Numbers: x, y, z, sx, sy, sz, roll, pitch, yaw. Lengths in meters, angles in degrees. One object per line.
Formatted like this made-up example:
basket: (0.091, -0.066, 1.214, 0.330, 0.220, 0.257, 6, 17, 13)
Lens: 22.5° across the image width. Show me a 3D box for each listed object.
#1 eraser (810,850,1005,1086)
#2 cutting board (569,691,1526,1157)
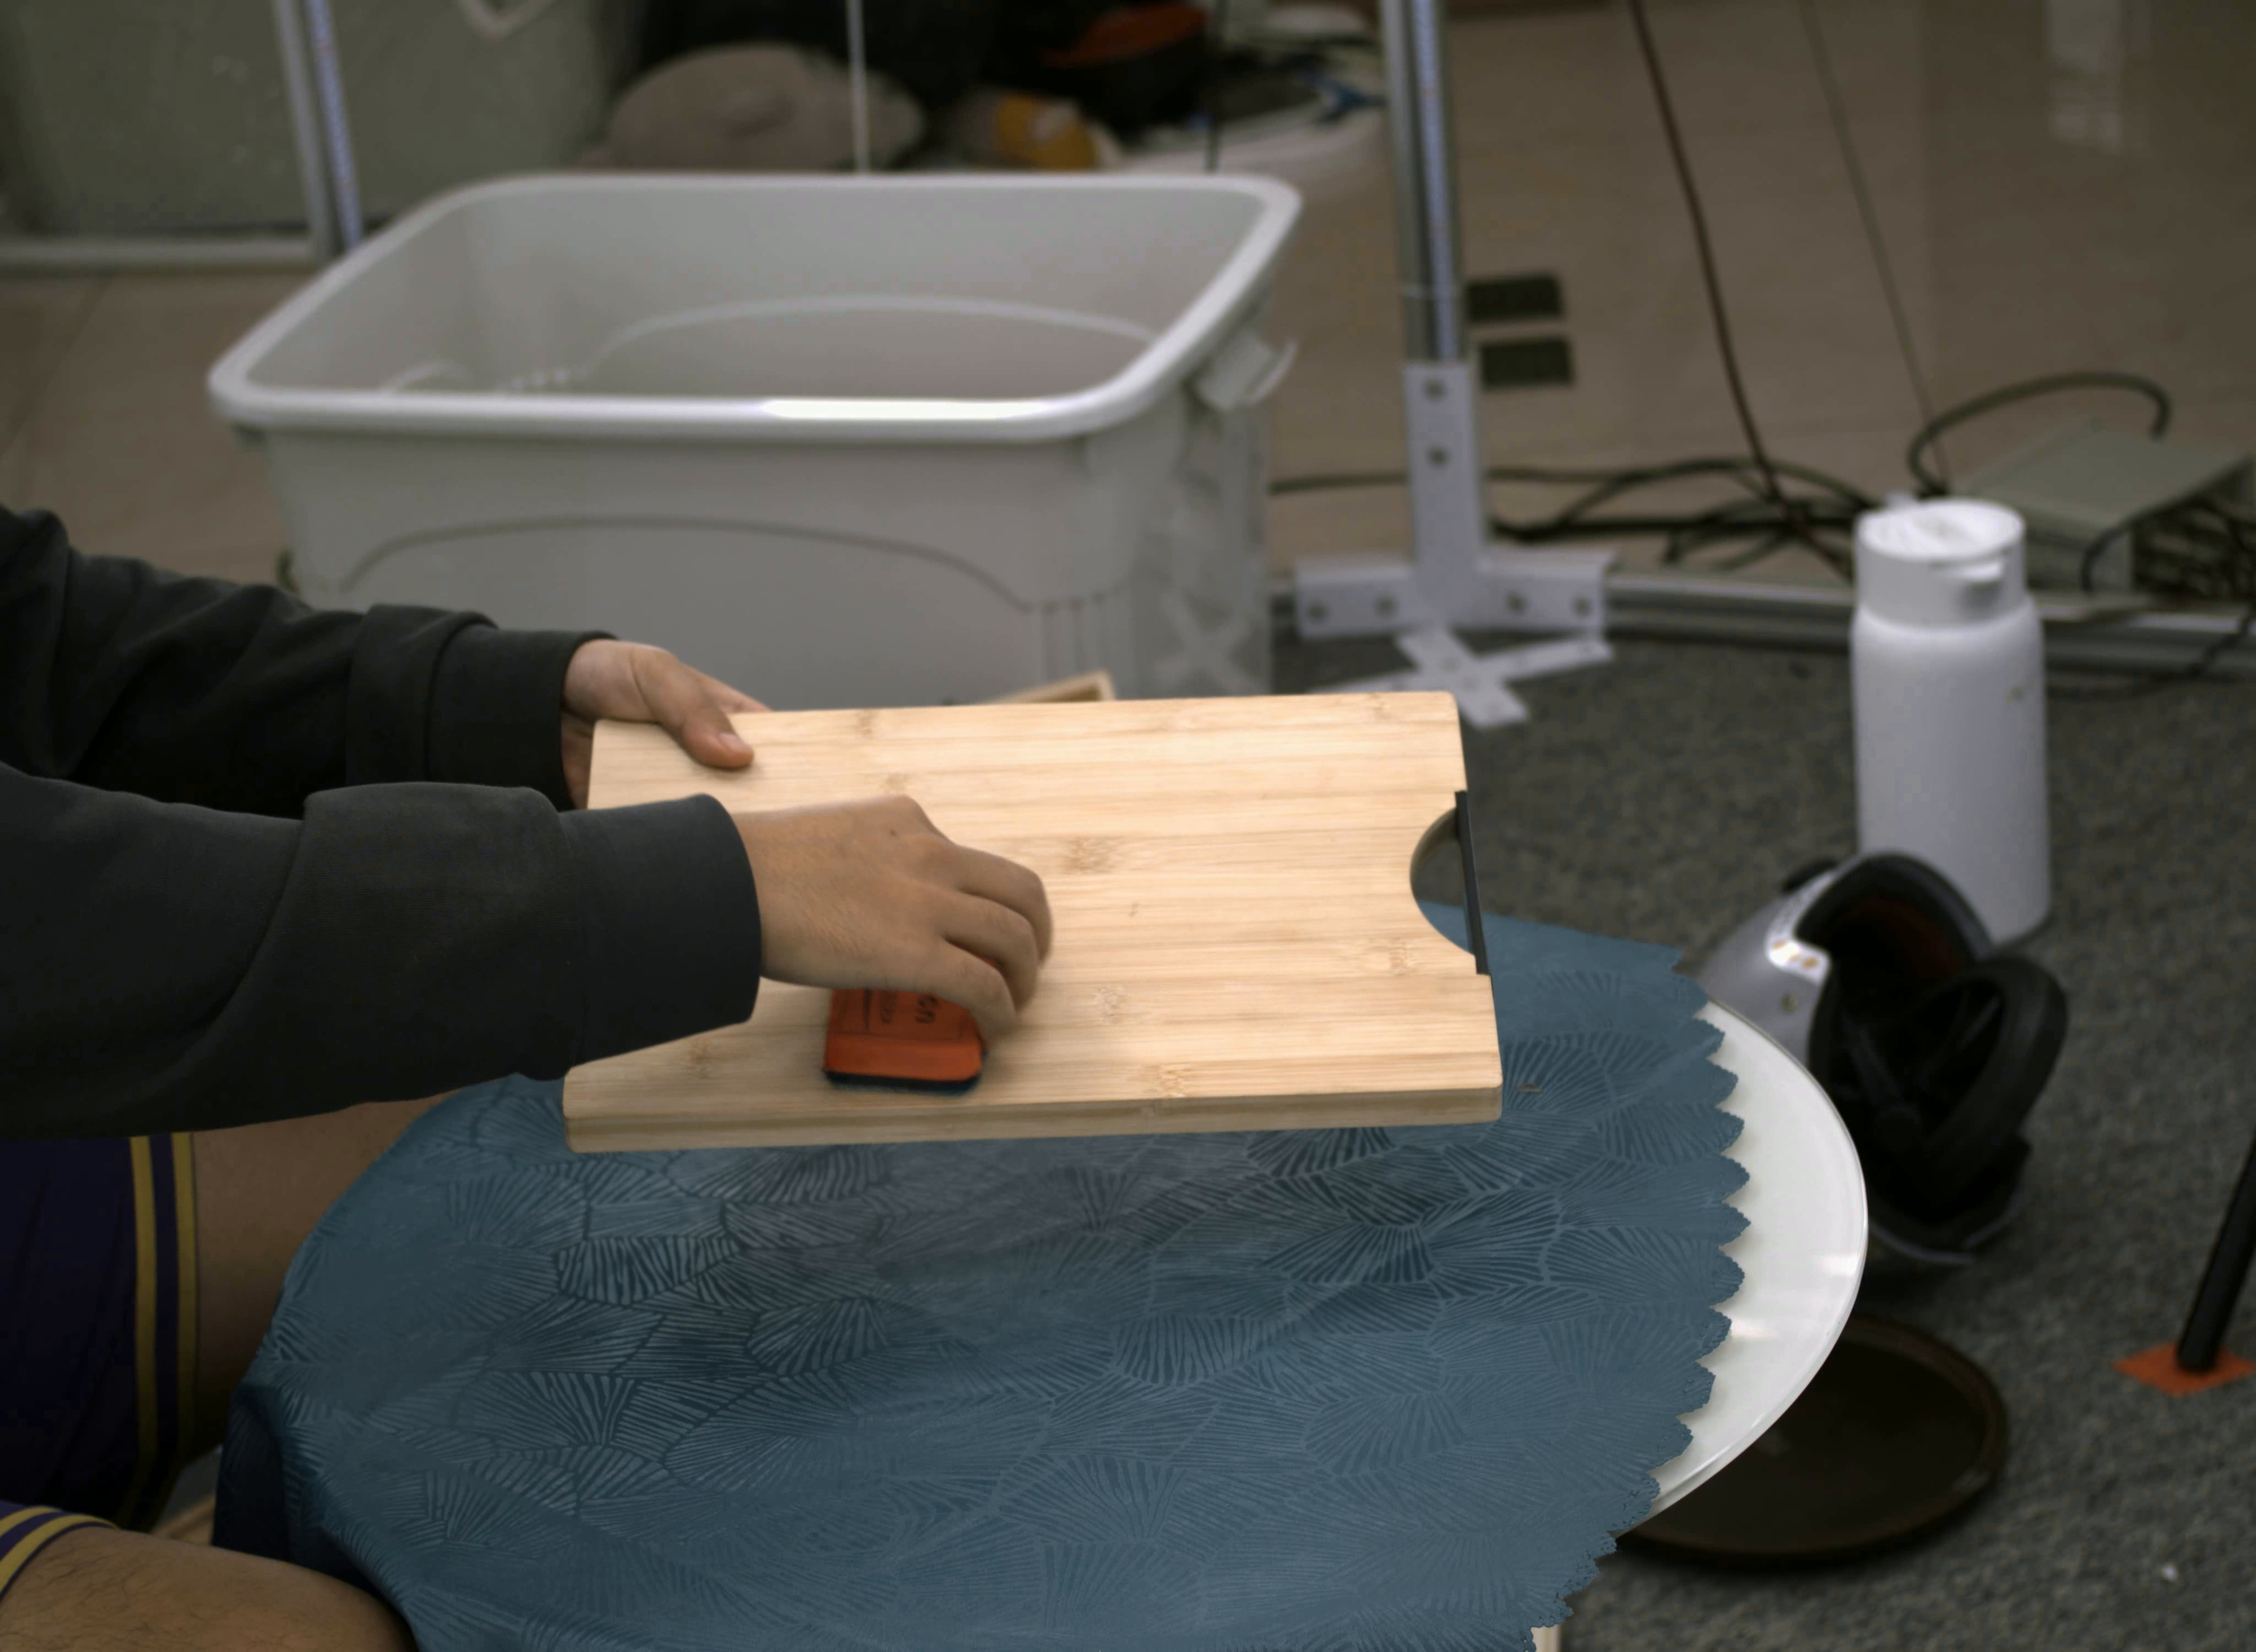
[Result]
eraser: (-0.080, 0.052, 2.078, 0.059, 0.023, 0.106, 5, 39, 7)
cutting board: (-0.032, 0.033, 2.134, 0.348, 0.024, 0.246, -2, 39, -1)
